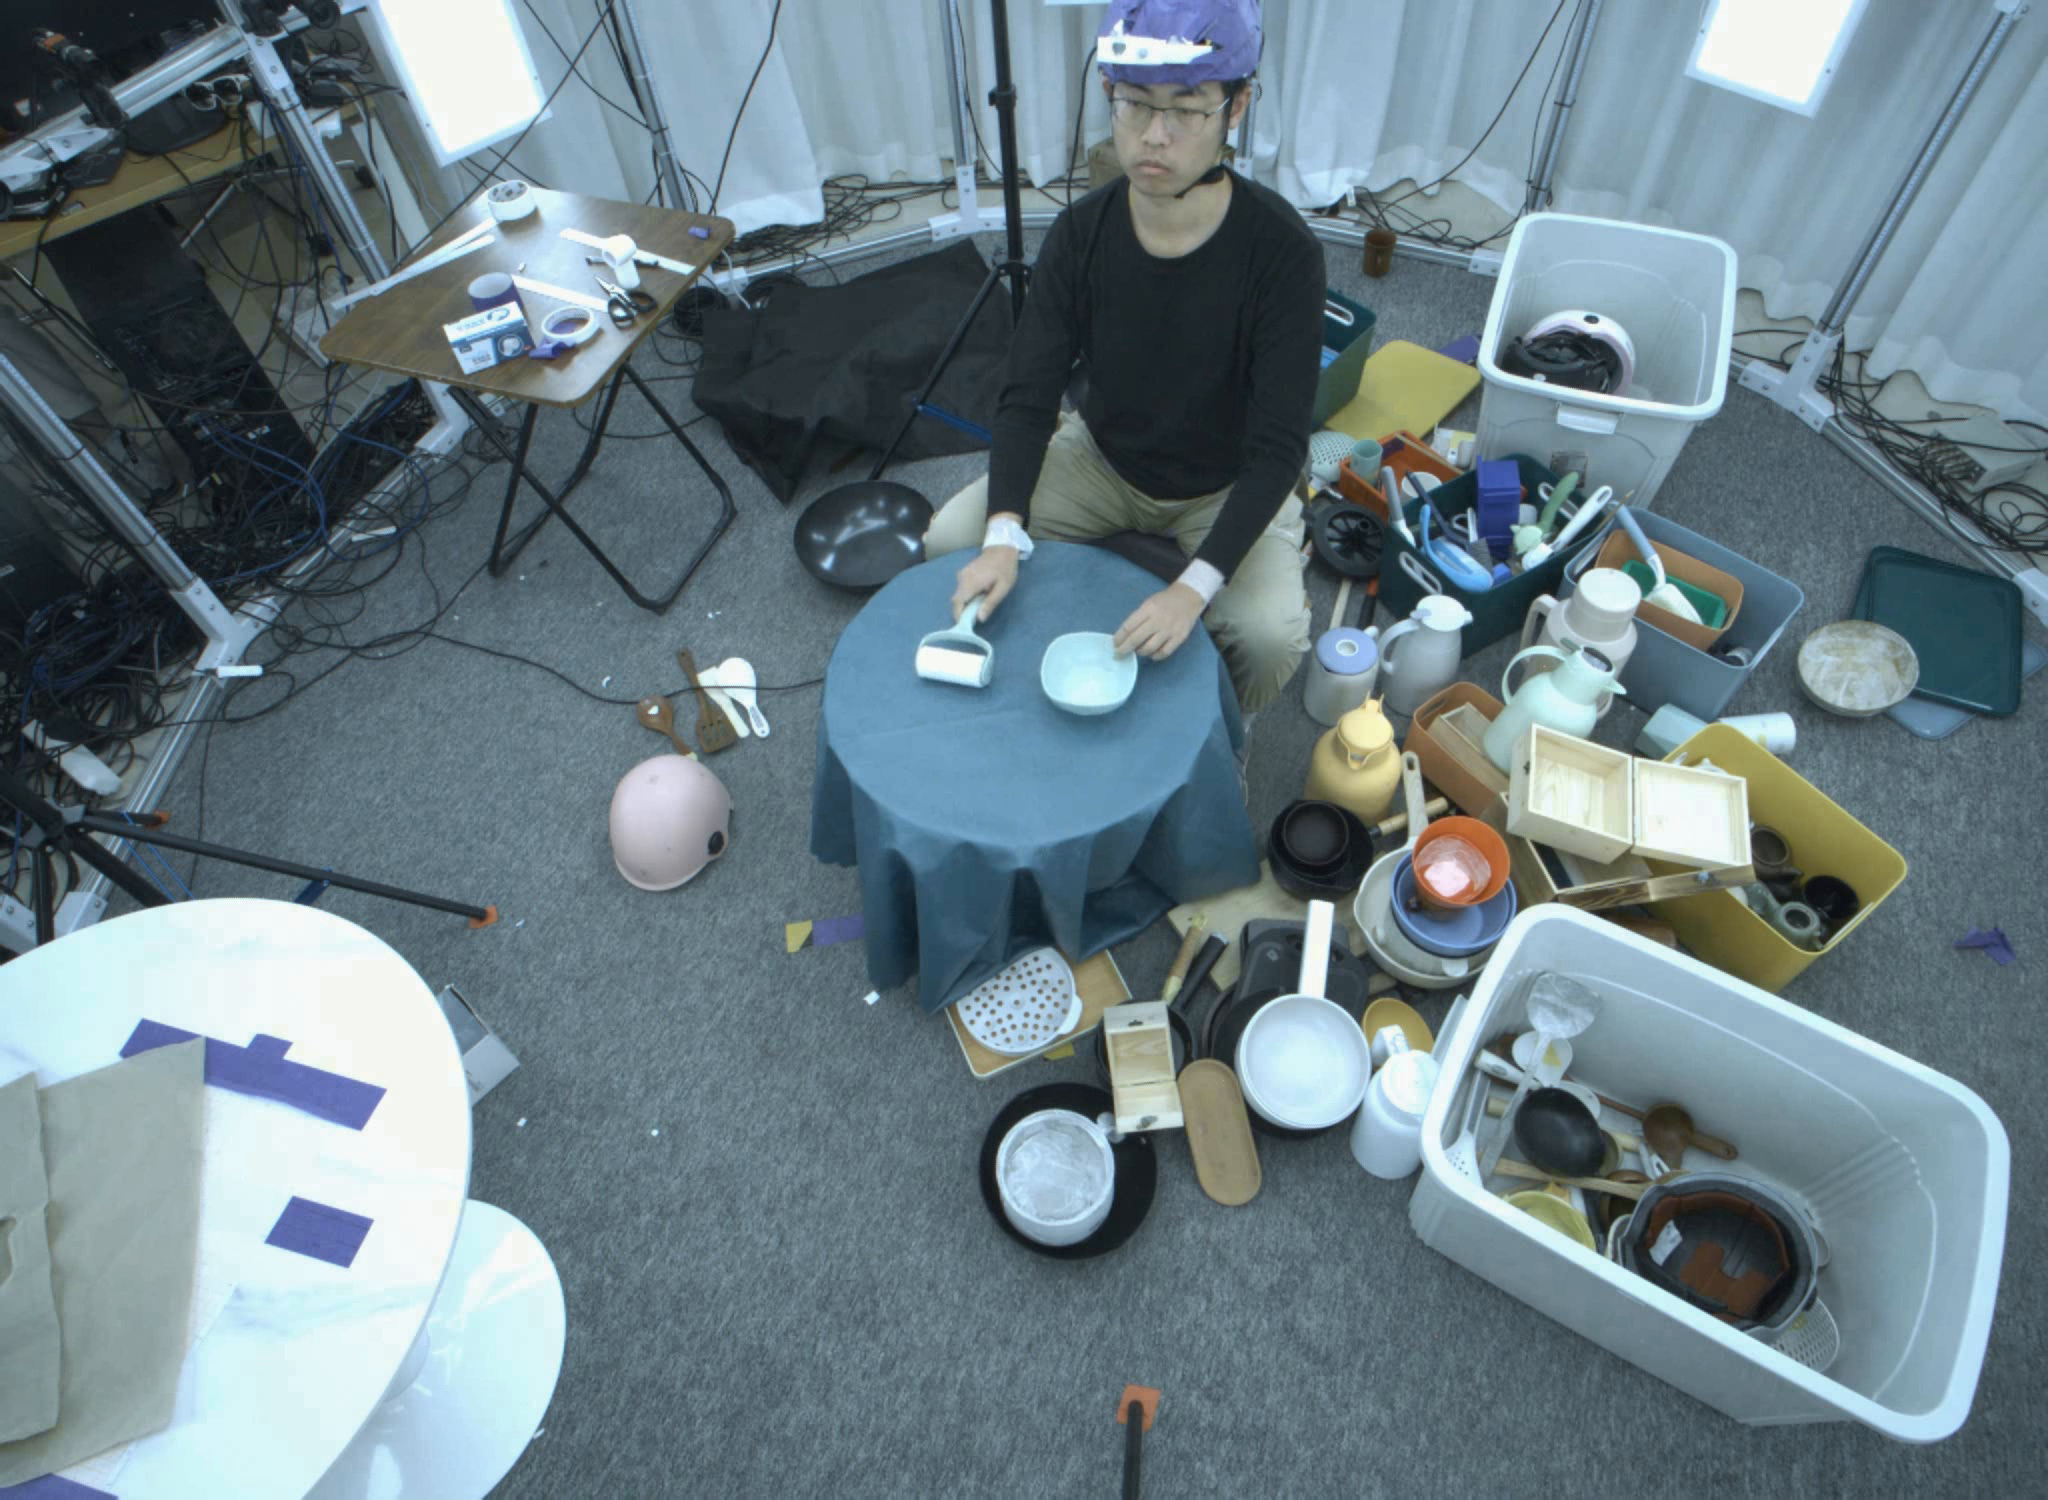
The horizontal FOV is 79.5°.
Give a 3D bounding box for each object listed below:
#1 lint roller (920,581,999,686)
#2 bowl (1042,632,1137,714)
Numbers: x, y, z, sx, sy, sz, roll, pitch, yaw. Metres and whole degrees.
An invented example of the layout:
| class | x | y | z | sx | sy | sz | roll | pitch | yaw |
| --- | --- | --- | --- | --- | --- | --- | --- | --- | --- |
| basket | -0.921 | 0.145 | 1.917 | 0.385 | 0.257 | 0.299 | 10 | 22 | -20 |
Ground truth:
| class | x | y | z | sx | sy | sz | roll | pitch | yaw |
| --- | --- | --- | --- | --- | --- | --- | --- | --- | --- |
| lint roller | -0.079 | -0.187 | 1.877 | 0.115 | 0.049 | 0.197 | 10 | 62 | 15 |
| bowl | 0.098 | -0.104 | 1.823 | 0.151 | 0.059 | 0.150 | -1 | 56 | 3 |
